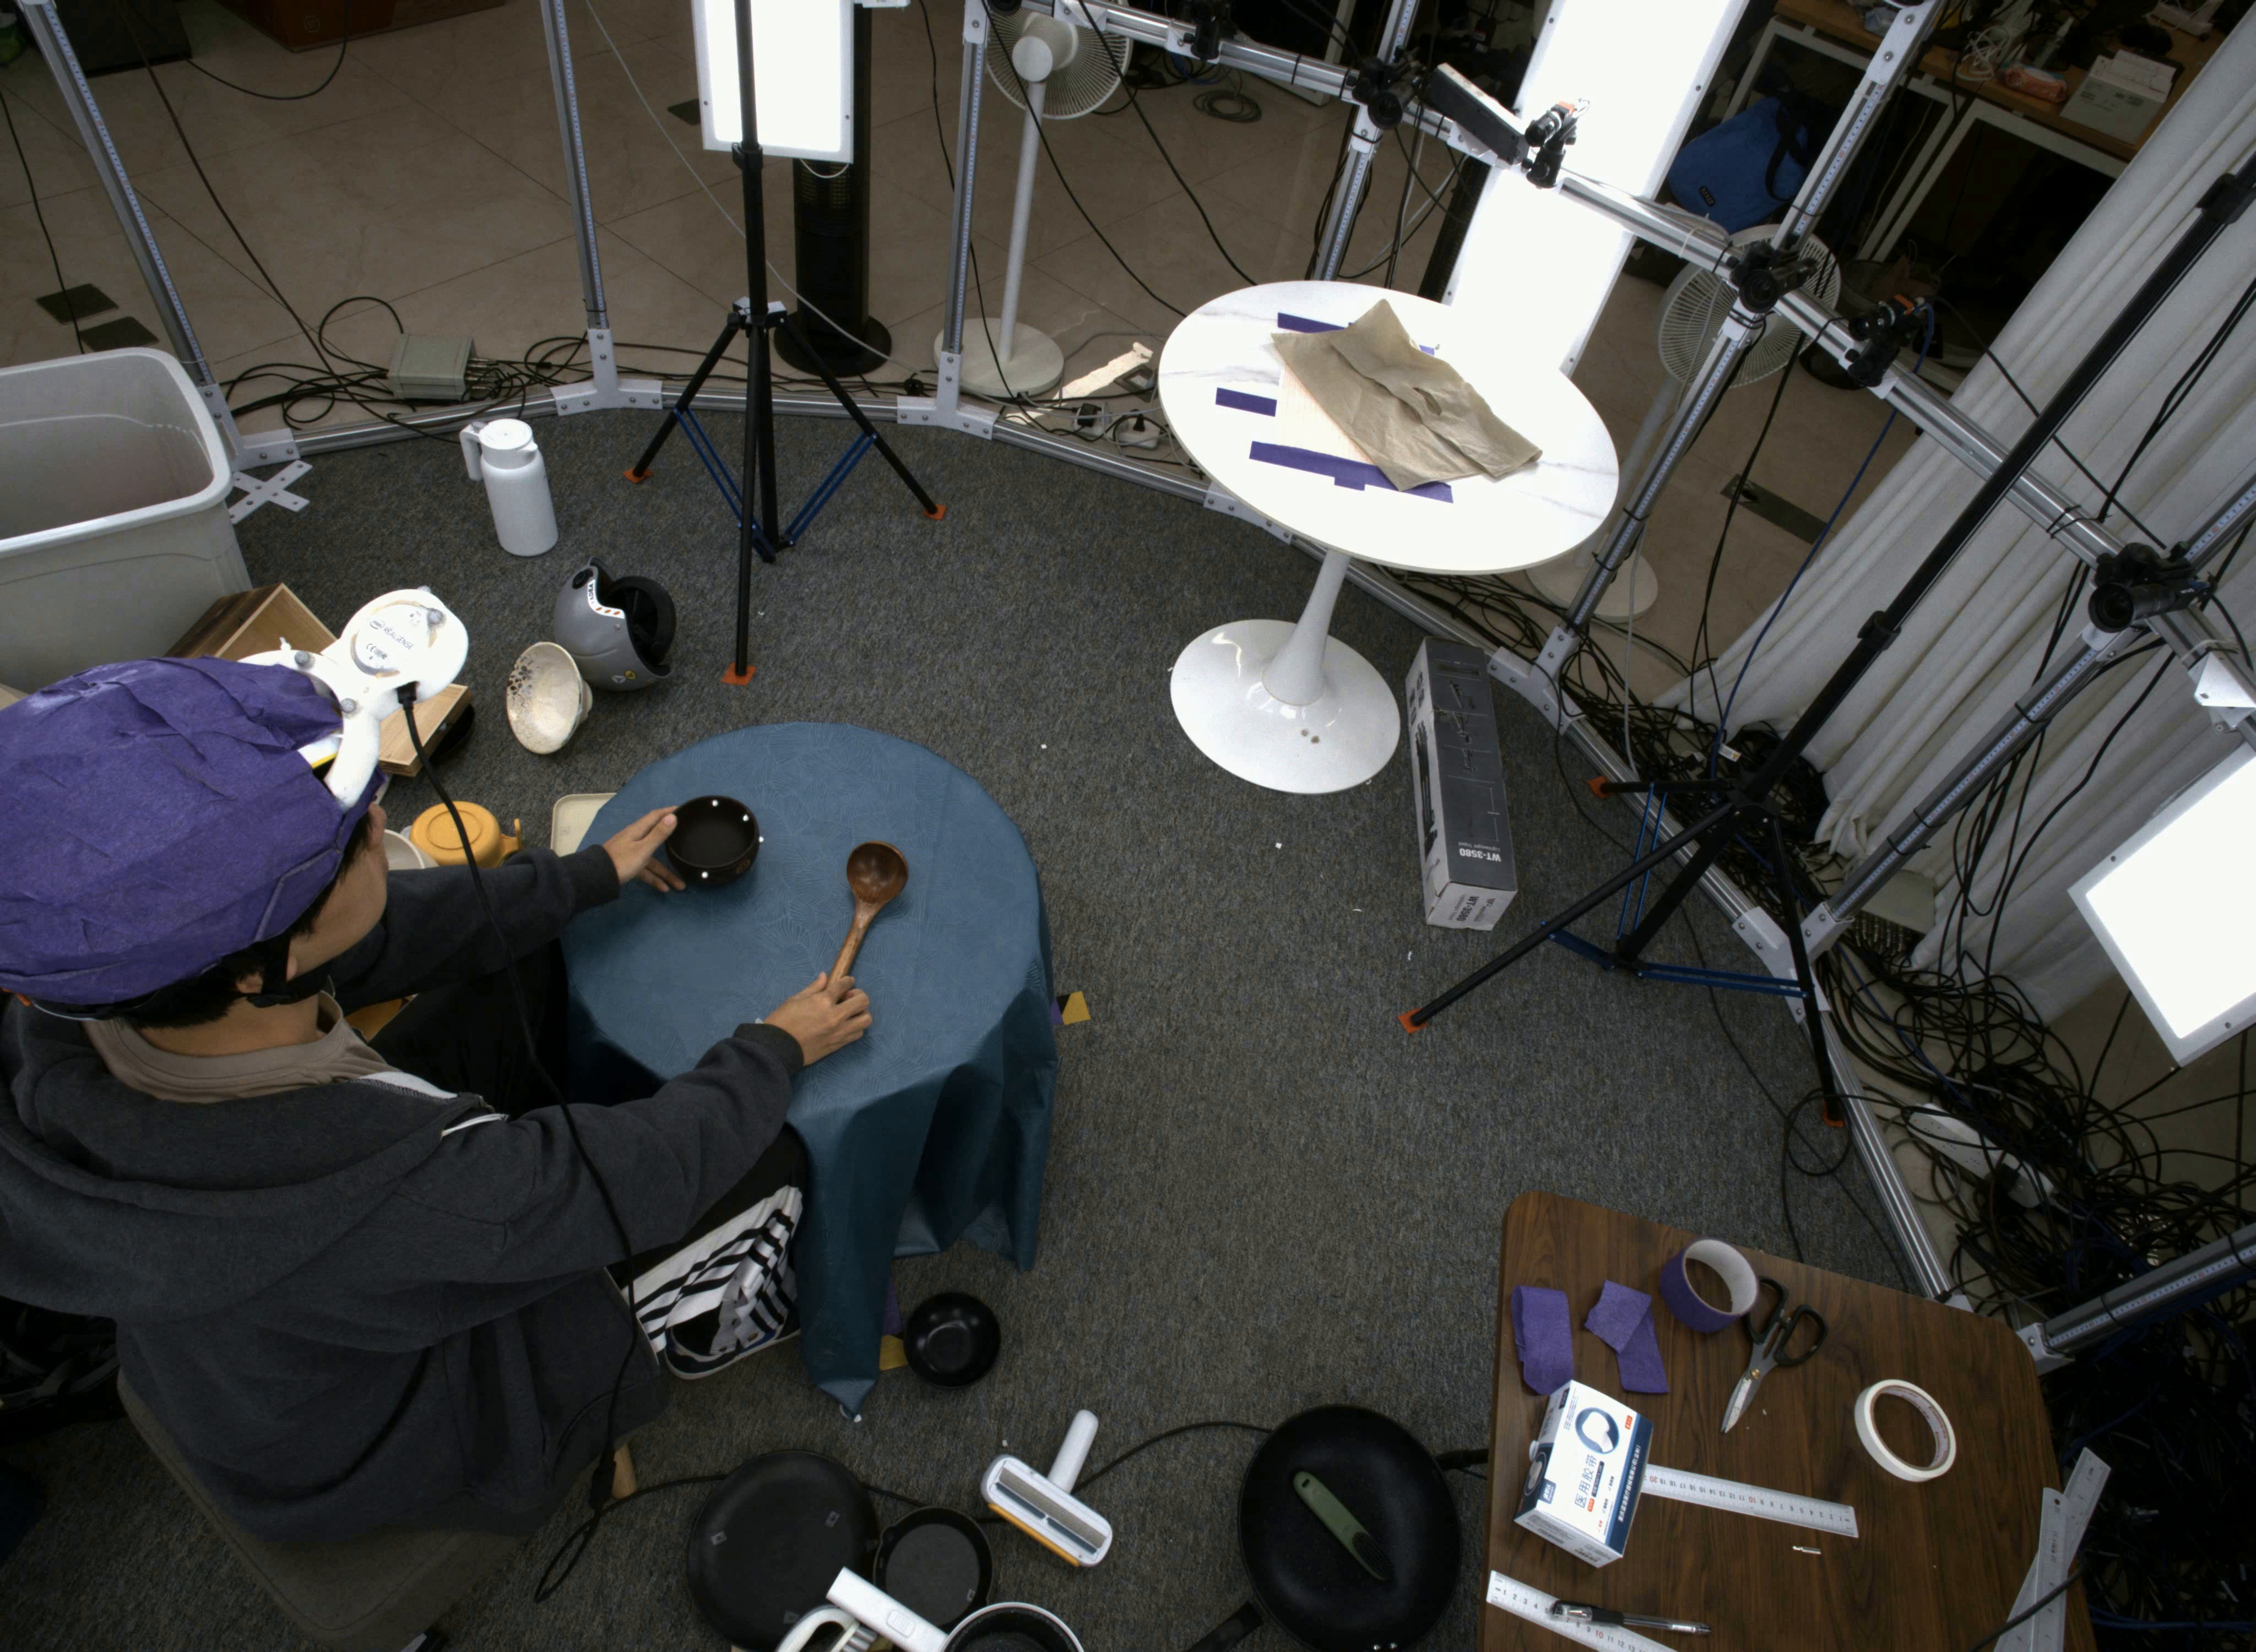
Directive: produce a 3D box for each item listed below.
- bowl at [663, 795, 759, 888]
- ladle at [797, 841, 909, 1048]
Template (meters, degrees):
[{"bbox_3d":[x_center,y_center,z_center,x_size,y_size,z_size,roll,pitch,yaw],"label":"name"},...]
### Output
[{"bbox_3d":[-0.527,0.027,1.635,0.118,0.071,0.116,8,52,-9],"label":"bowl"},{"bbox_3d":[-0.344,0.137,1.596,0.081,0.078,0.271,14,51,5],"label":"ladle"}]
